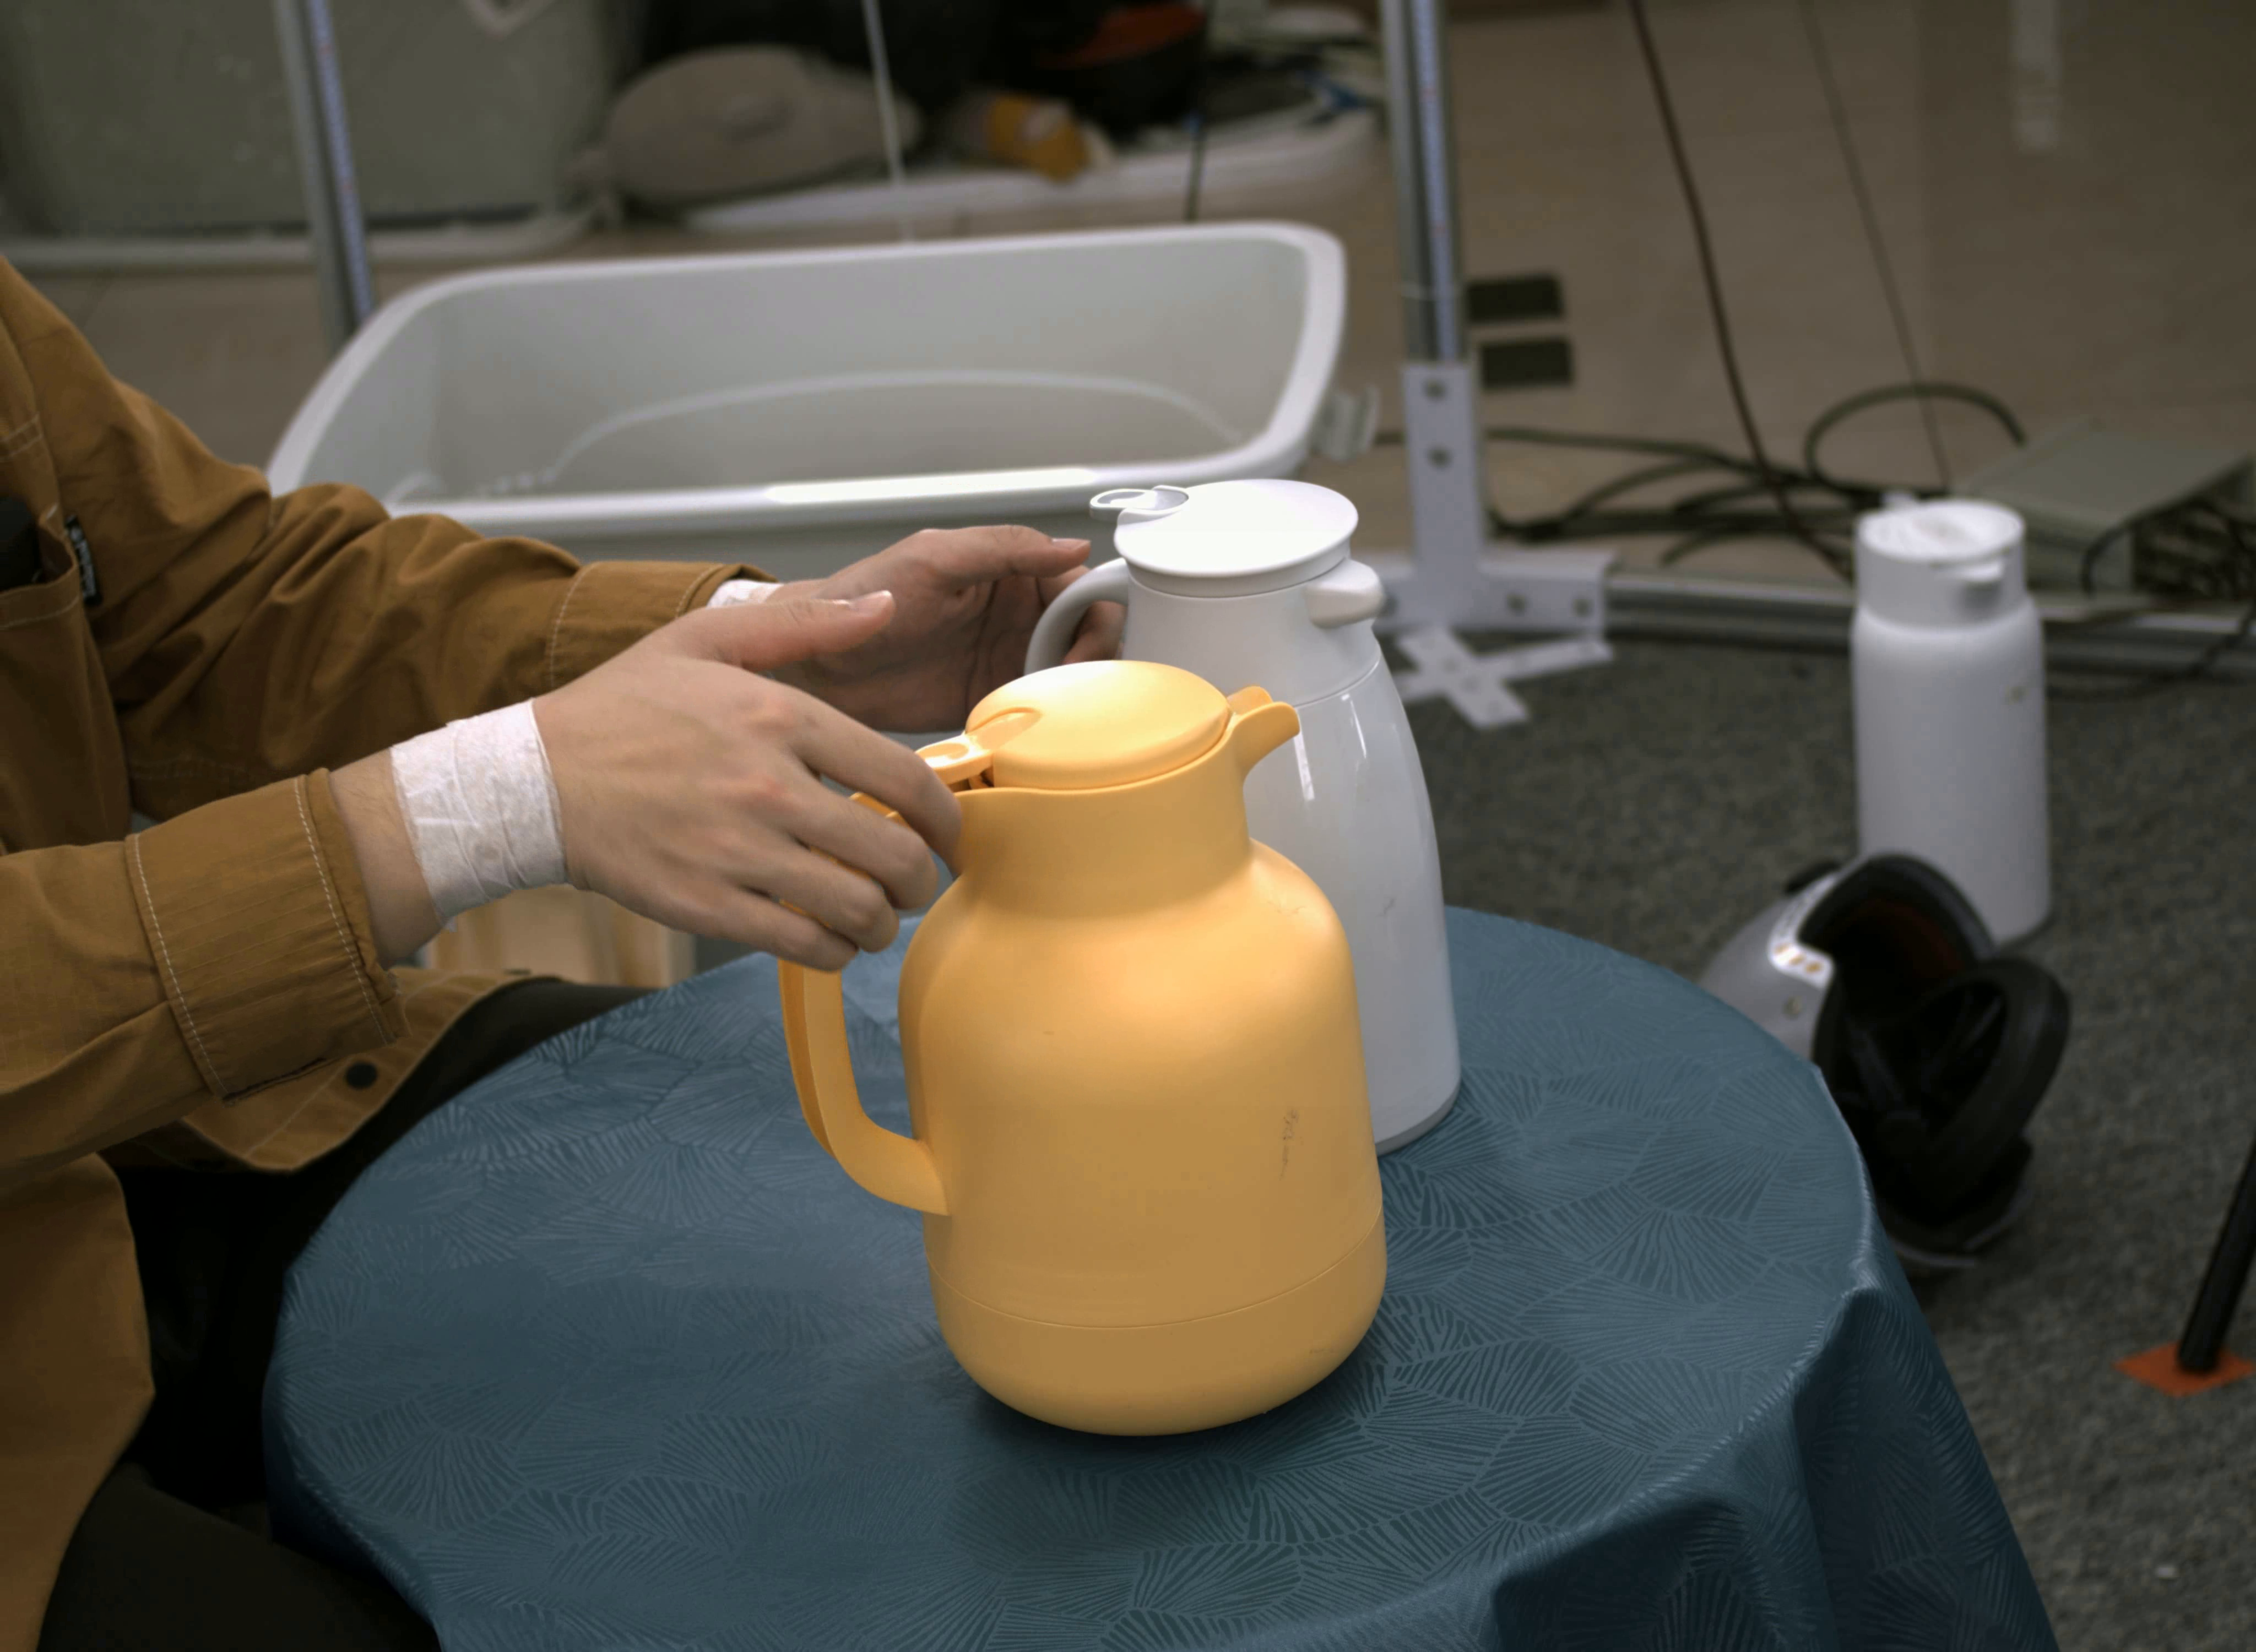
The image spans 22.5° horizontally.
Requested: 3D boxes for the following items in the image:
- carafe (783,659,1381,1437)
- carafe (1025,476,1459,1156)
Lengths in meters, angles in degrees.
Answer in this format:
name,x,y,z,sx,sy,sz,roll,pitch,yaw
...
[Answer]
name,x,y,z,sx,sy,sz,roll,pitch,yaw
carafe,-0.018,0.077,1.975,0.201,0.264,0.161,-14,24,-18
carafe,0.036,-0.010,2.161,0.167,0.252,0.131,11,31,33
